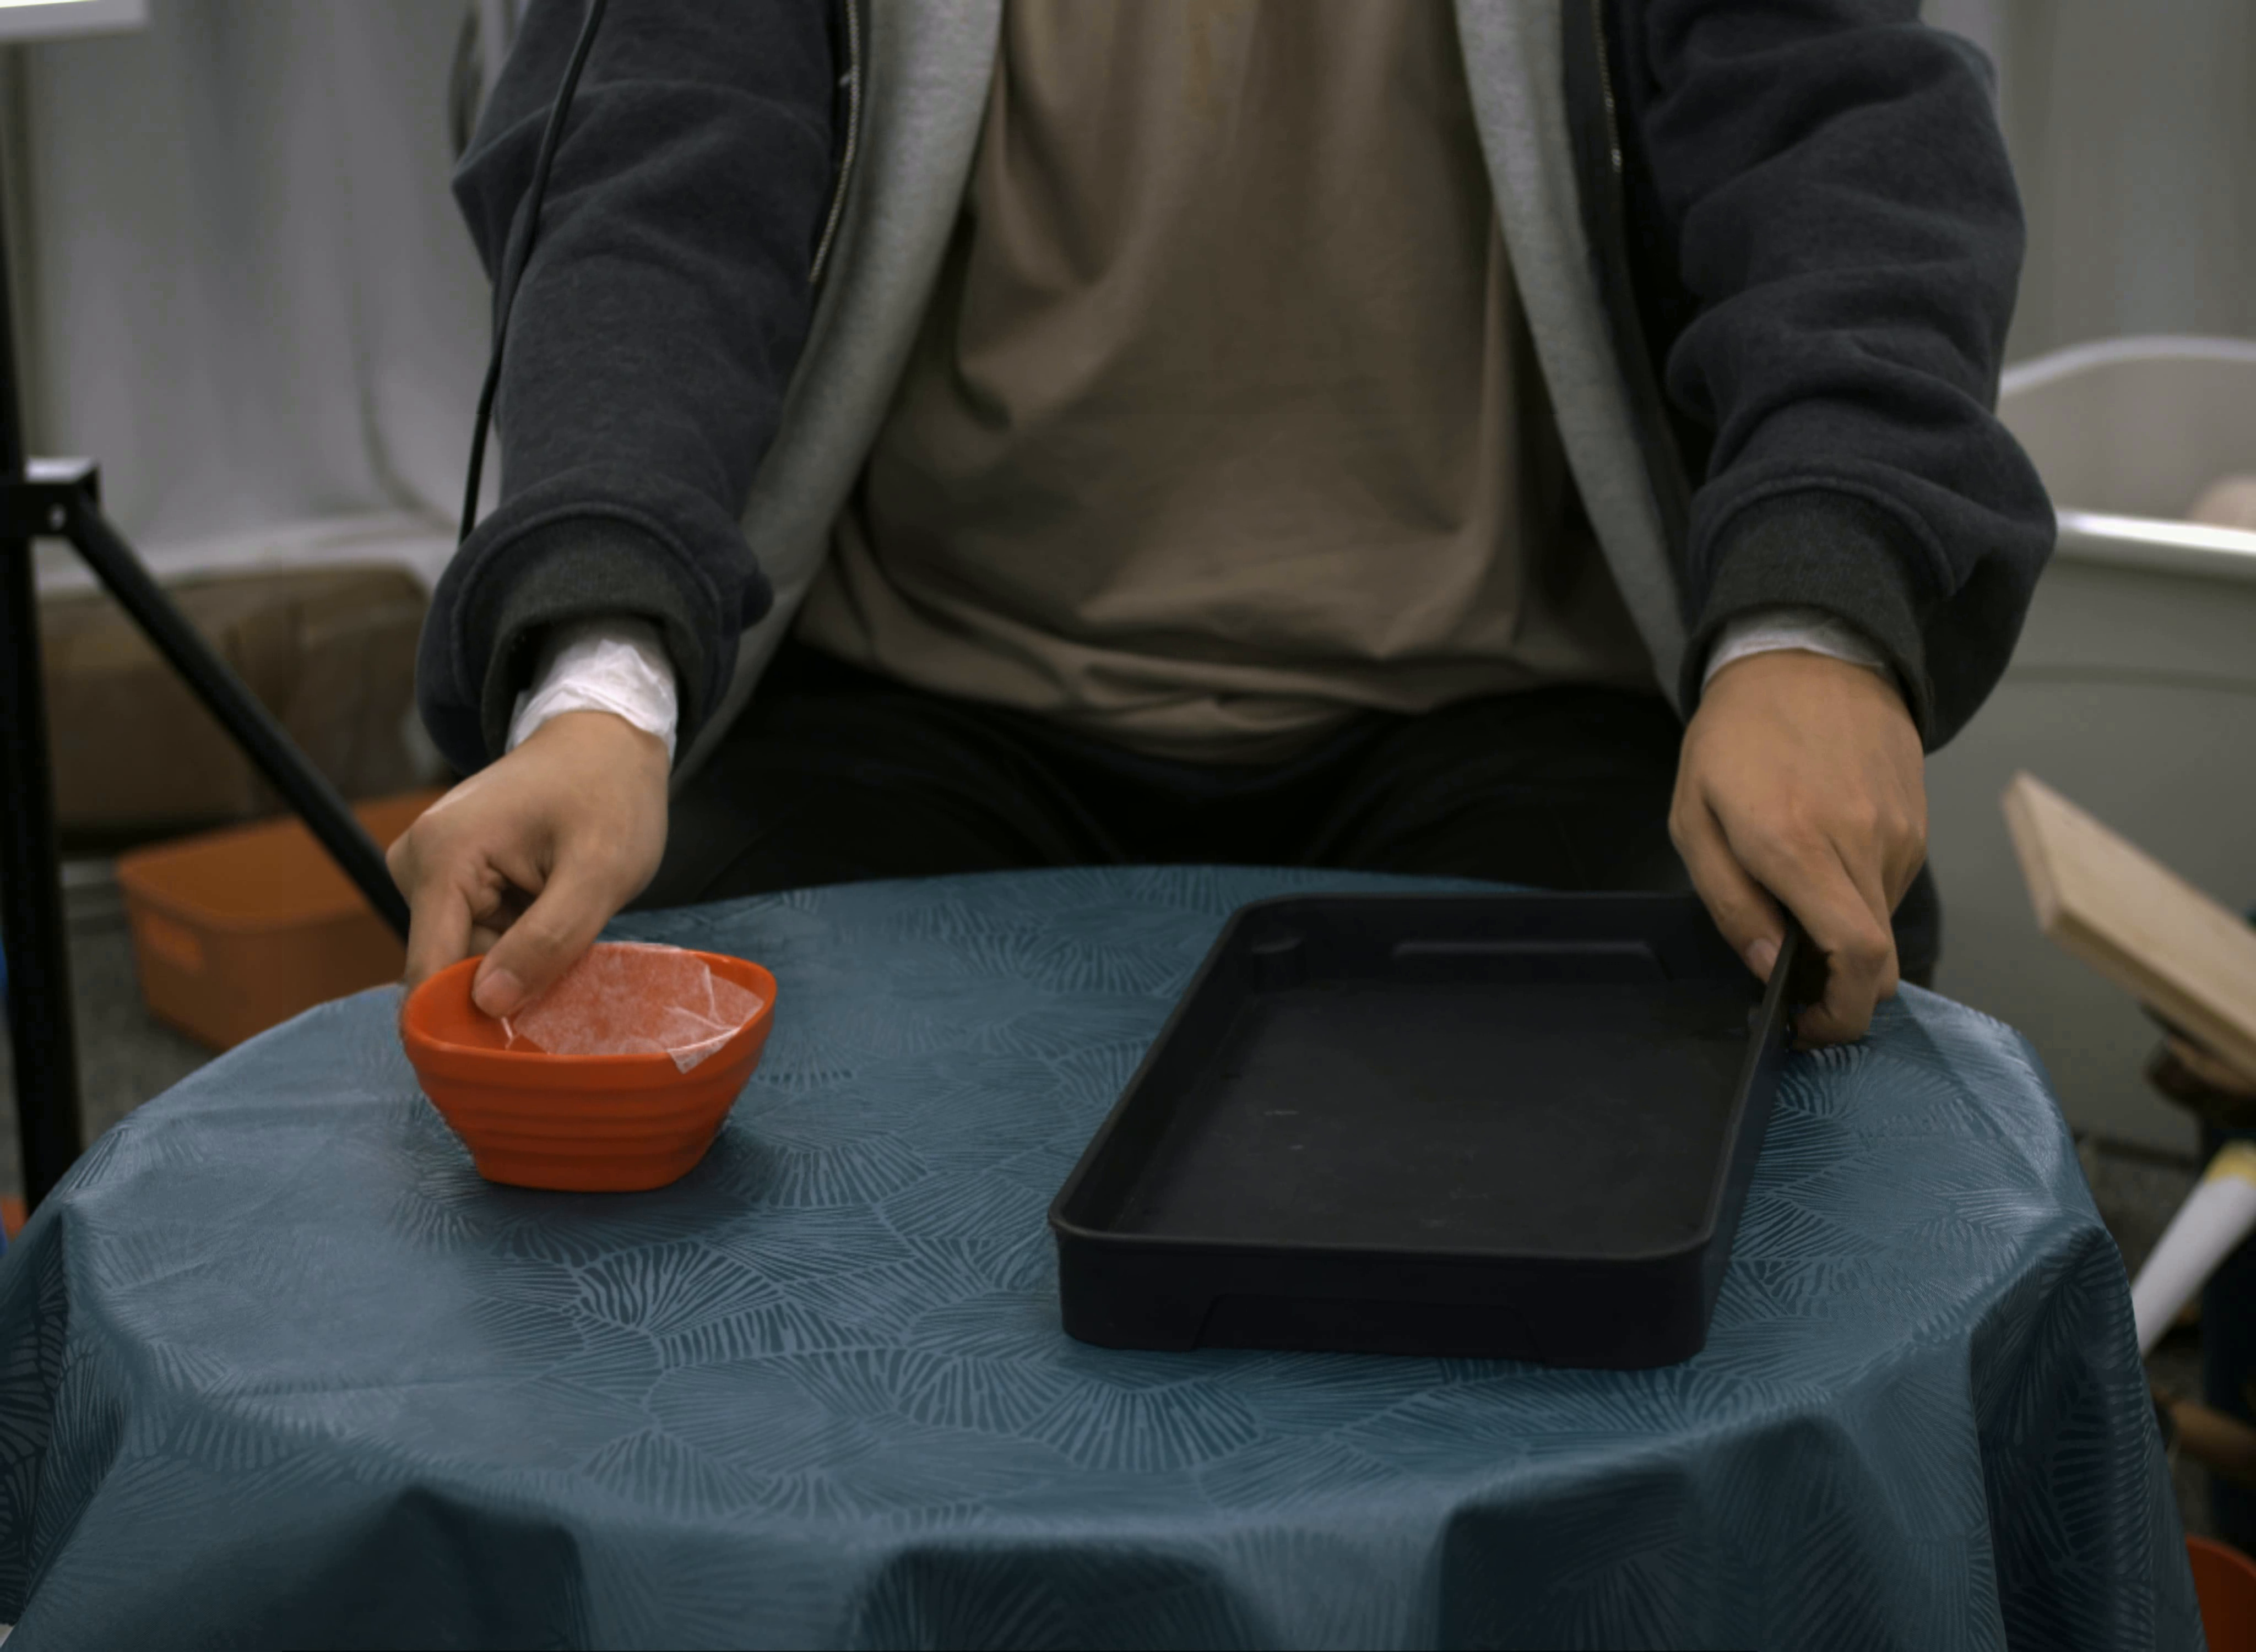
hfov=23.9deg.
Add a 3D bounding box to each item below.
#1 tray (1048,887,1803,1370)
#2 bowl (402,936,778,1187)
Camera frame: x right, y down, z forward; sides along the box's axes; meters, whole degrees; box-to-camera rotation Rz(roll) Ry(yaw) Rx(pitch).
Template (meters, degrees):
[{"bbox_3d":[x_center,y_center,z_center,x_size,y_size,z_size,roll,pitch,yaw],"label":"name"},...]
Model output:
[{"bbox_3d":[0.096,0.083,1.562,0.185,0.037,0.316,0,17,13],"label":"tray"},{"bbox_3d":[-0.160,0.073,1.607,0.118,0.051,0.119,-3,17,-1],"label":"bowl"}]
